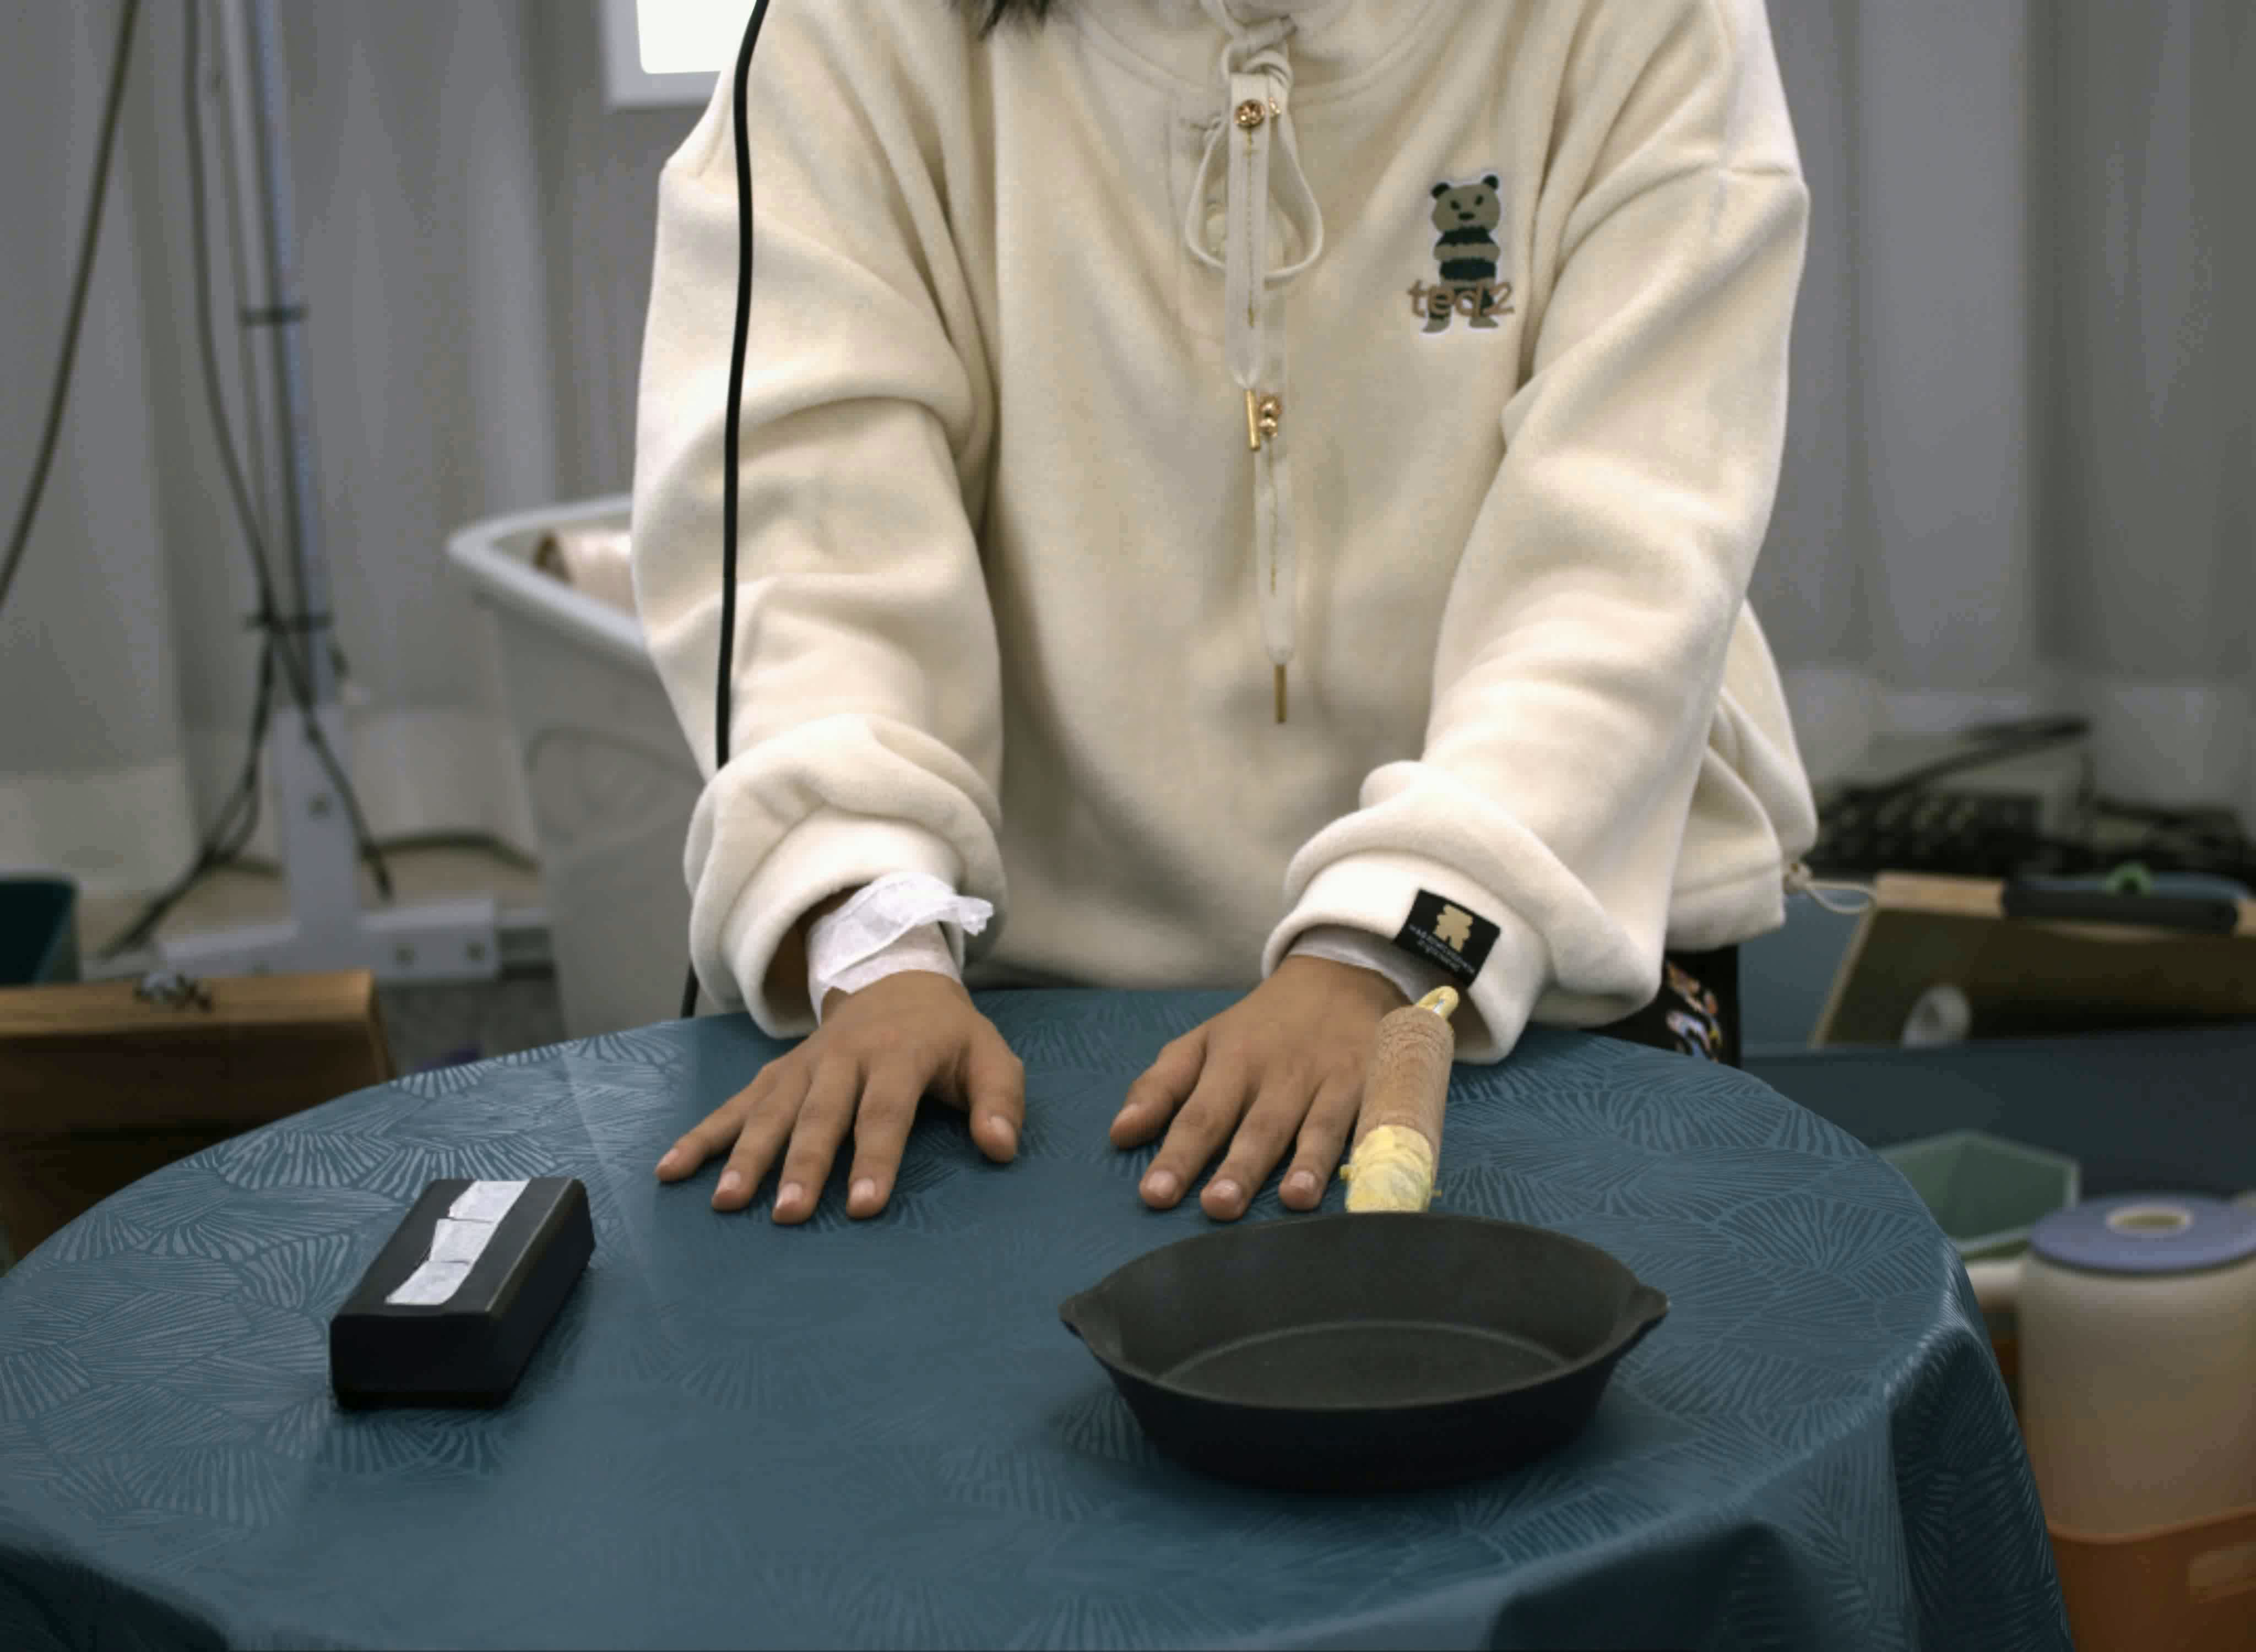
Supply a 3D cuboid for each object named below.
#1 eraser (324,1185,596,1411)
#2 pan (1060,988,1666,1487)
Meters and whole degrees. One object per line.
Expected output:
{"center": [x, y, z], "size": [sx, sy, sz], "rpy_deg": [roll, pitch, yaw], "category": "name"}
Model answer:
{"center": [-0.195, 0.138, 1.612], "size": [0.053, 0.030, 0.126], "rpy_deg": [0, 14, 7], "category": "eraser"}
{"center": [0.077, 0.116, 1.593], "size": [0.168, 0.049, 0.326], "rpy_deg": [-2, 15, 9], "category": "pan"}
